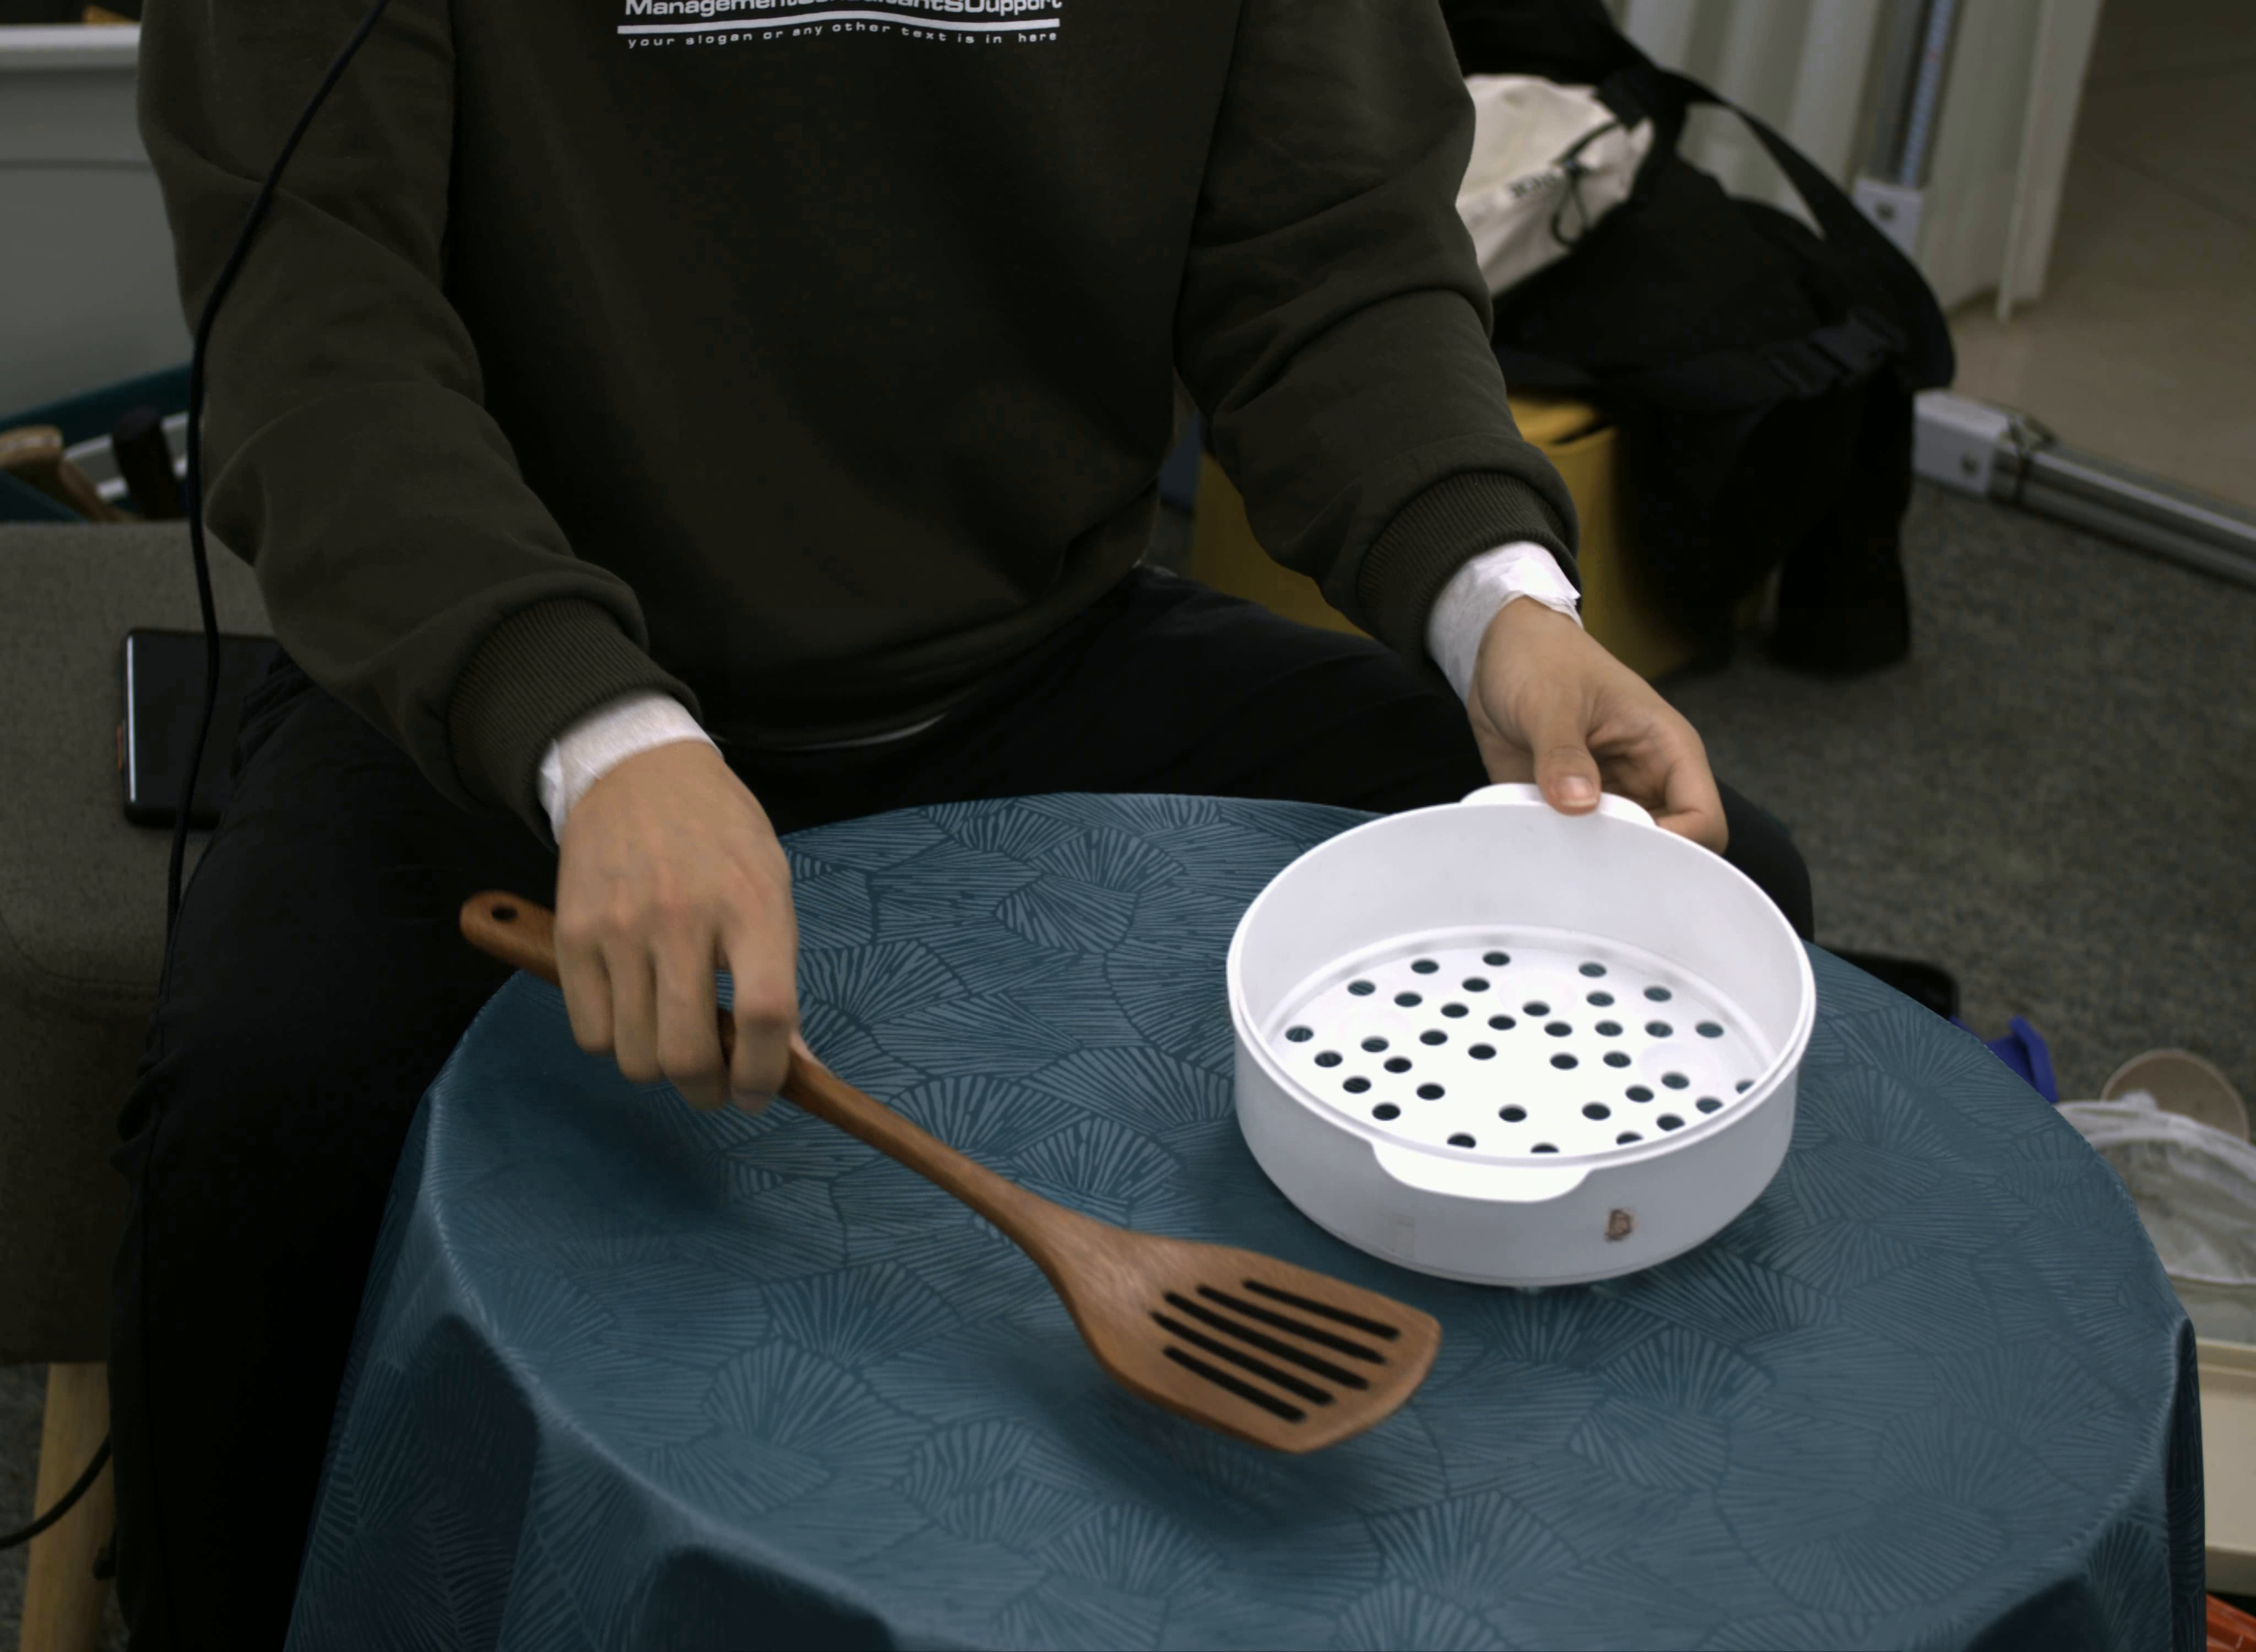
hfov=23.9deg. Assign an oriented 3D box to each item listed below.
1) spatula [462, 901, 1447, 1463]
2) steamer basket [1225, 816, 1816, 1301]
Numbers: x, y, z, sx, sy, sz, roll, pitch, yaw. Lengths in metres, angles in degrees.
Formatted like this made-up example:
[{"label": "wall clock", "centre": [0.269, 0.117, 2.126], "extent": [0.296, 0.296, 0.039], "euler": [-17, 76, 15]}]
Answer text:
[{"label": "spatula", "centre": [-0.071, 0.109, 1.727], "extent": [0.387, 0.023, 0.085], "euler": [27, 40, 27]}, {"label": "steamer basket", "centre": [0.132, 0.082, 1.825], "extent": [0.202, 0.069, 0.231], "euler": [8, 33, 9]}]
